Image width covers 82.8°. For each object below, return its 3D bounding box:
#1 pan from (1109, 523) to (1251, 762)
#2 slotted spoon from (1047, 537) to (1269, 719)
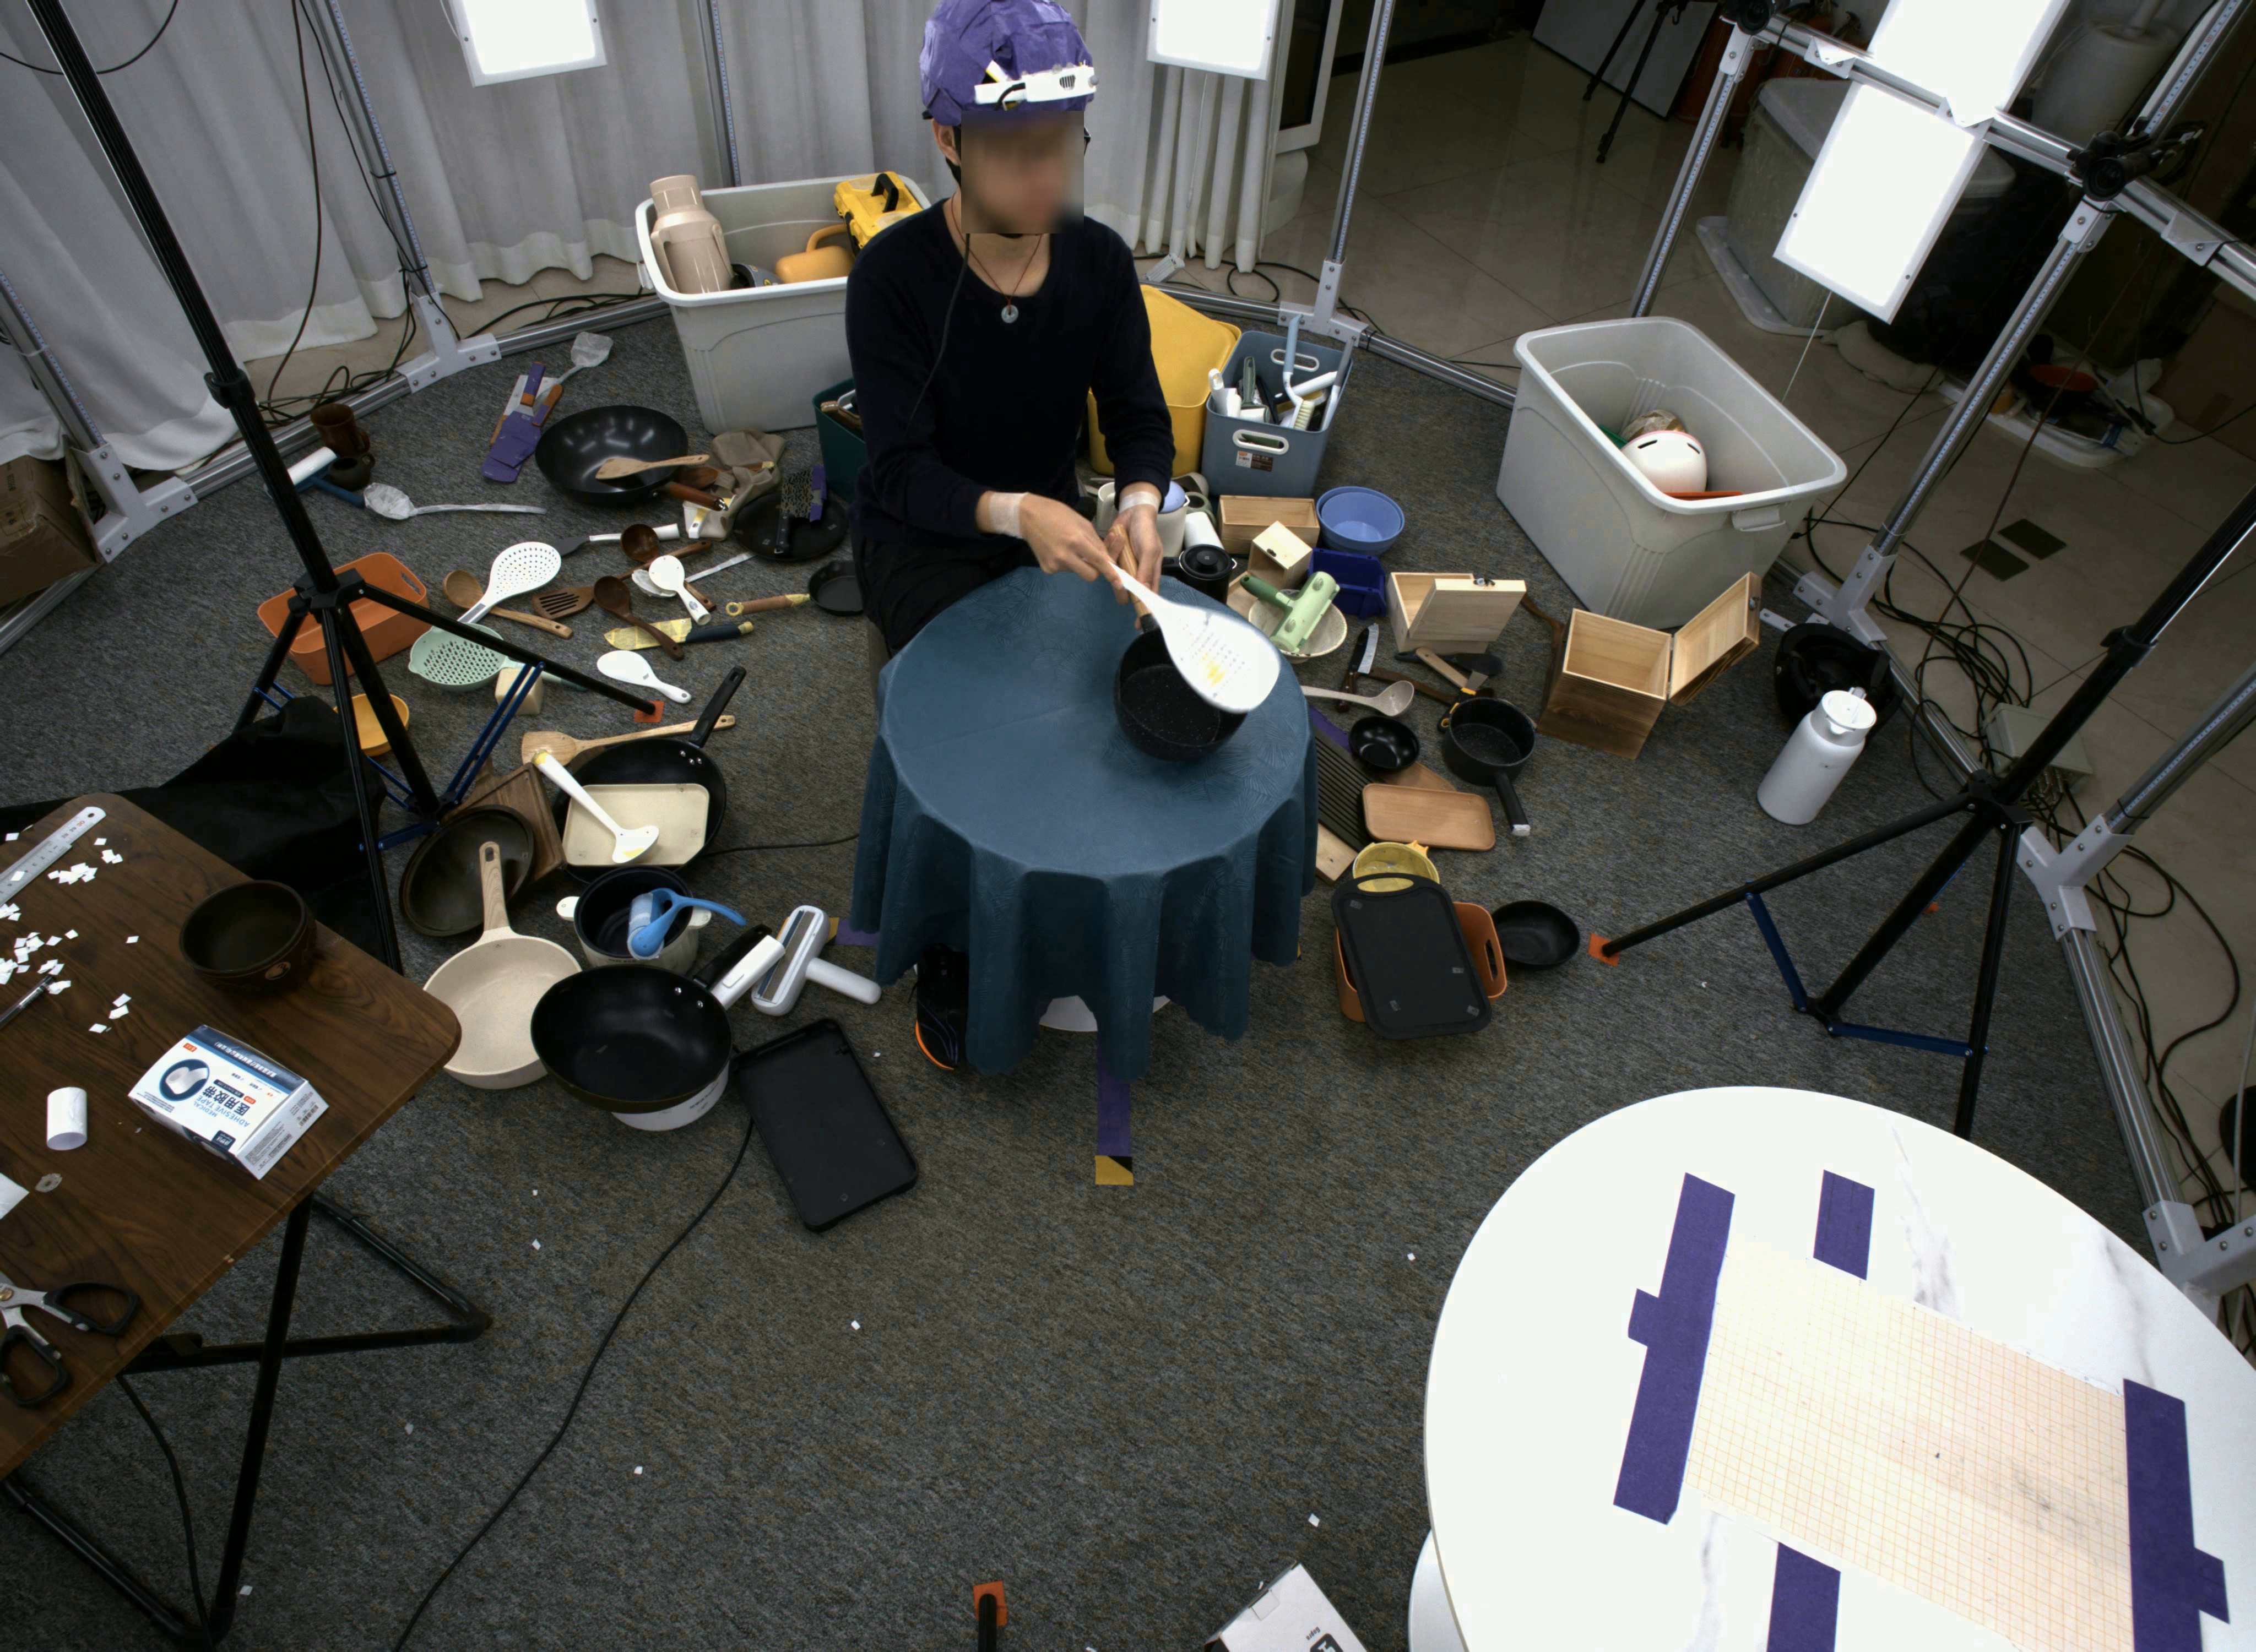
[{"bbox_3d":[0.038,-0.247,1.756,0.208,0.106,0.347,-19,73,-22],"label":"pan"},{"bbox_3d":[0.037,-0.267,1.668,0.347,0.049,0.139,44,51,-3],"label":"slotted spoon"}]
